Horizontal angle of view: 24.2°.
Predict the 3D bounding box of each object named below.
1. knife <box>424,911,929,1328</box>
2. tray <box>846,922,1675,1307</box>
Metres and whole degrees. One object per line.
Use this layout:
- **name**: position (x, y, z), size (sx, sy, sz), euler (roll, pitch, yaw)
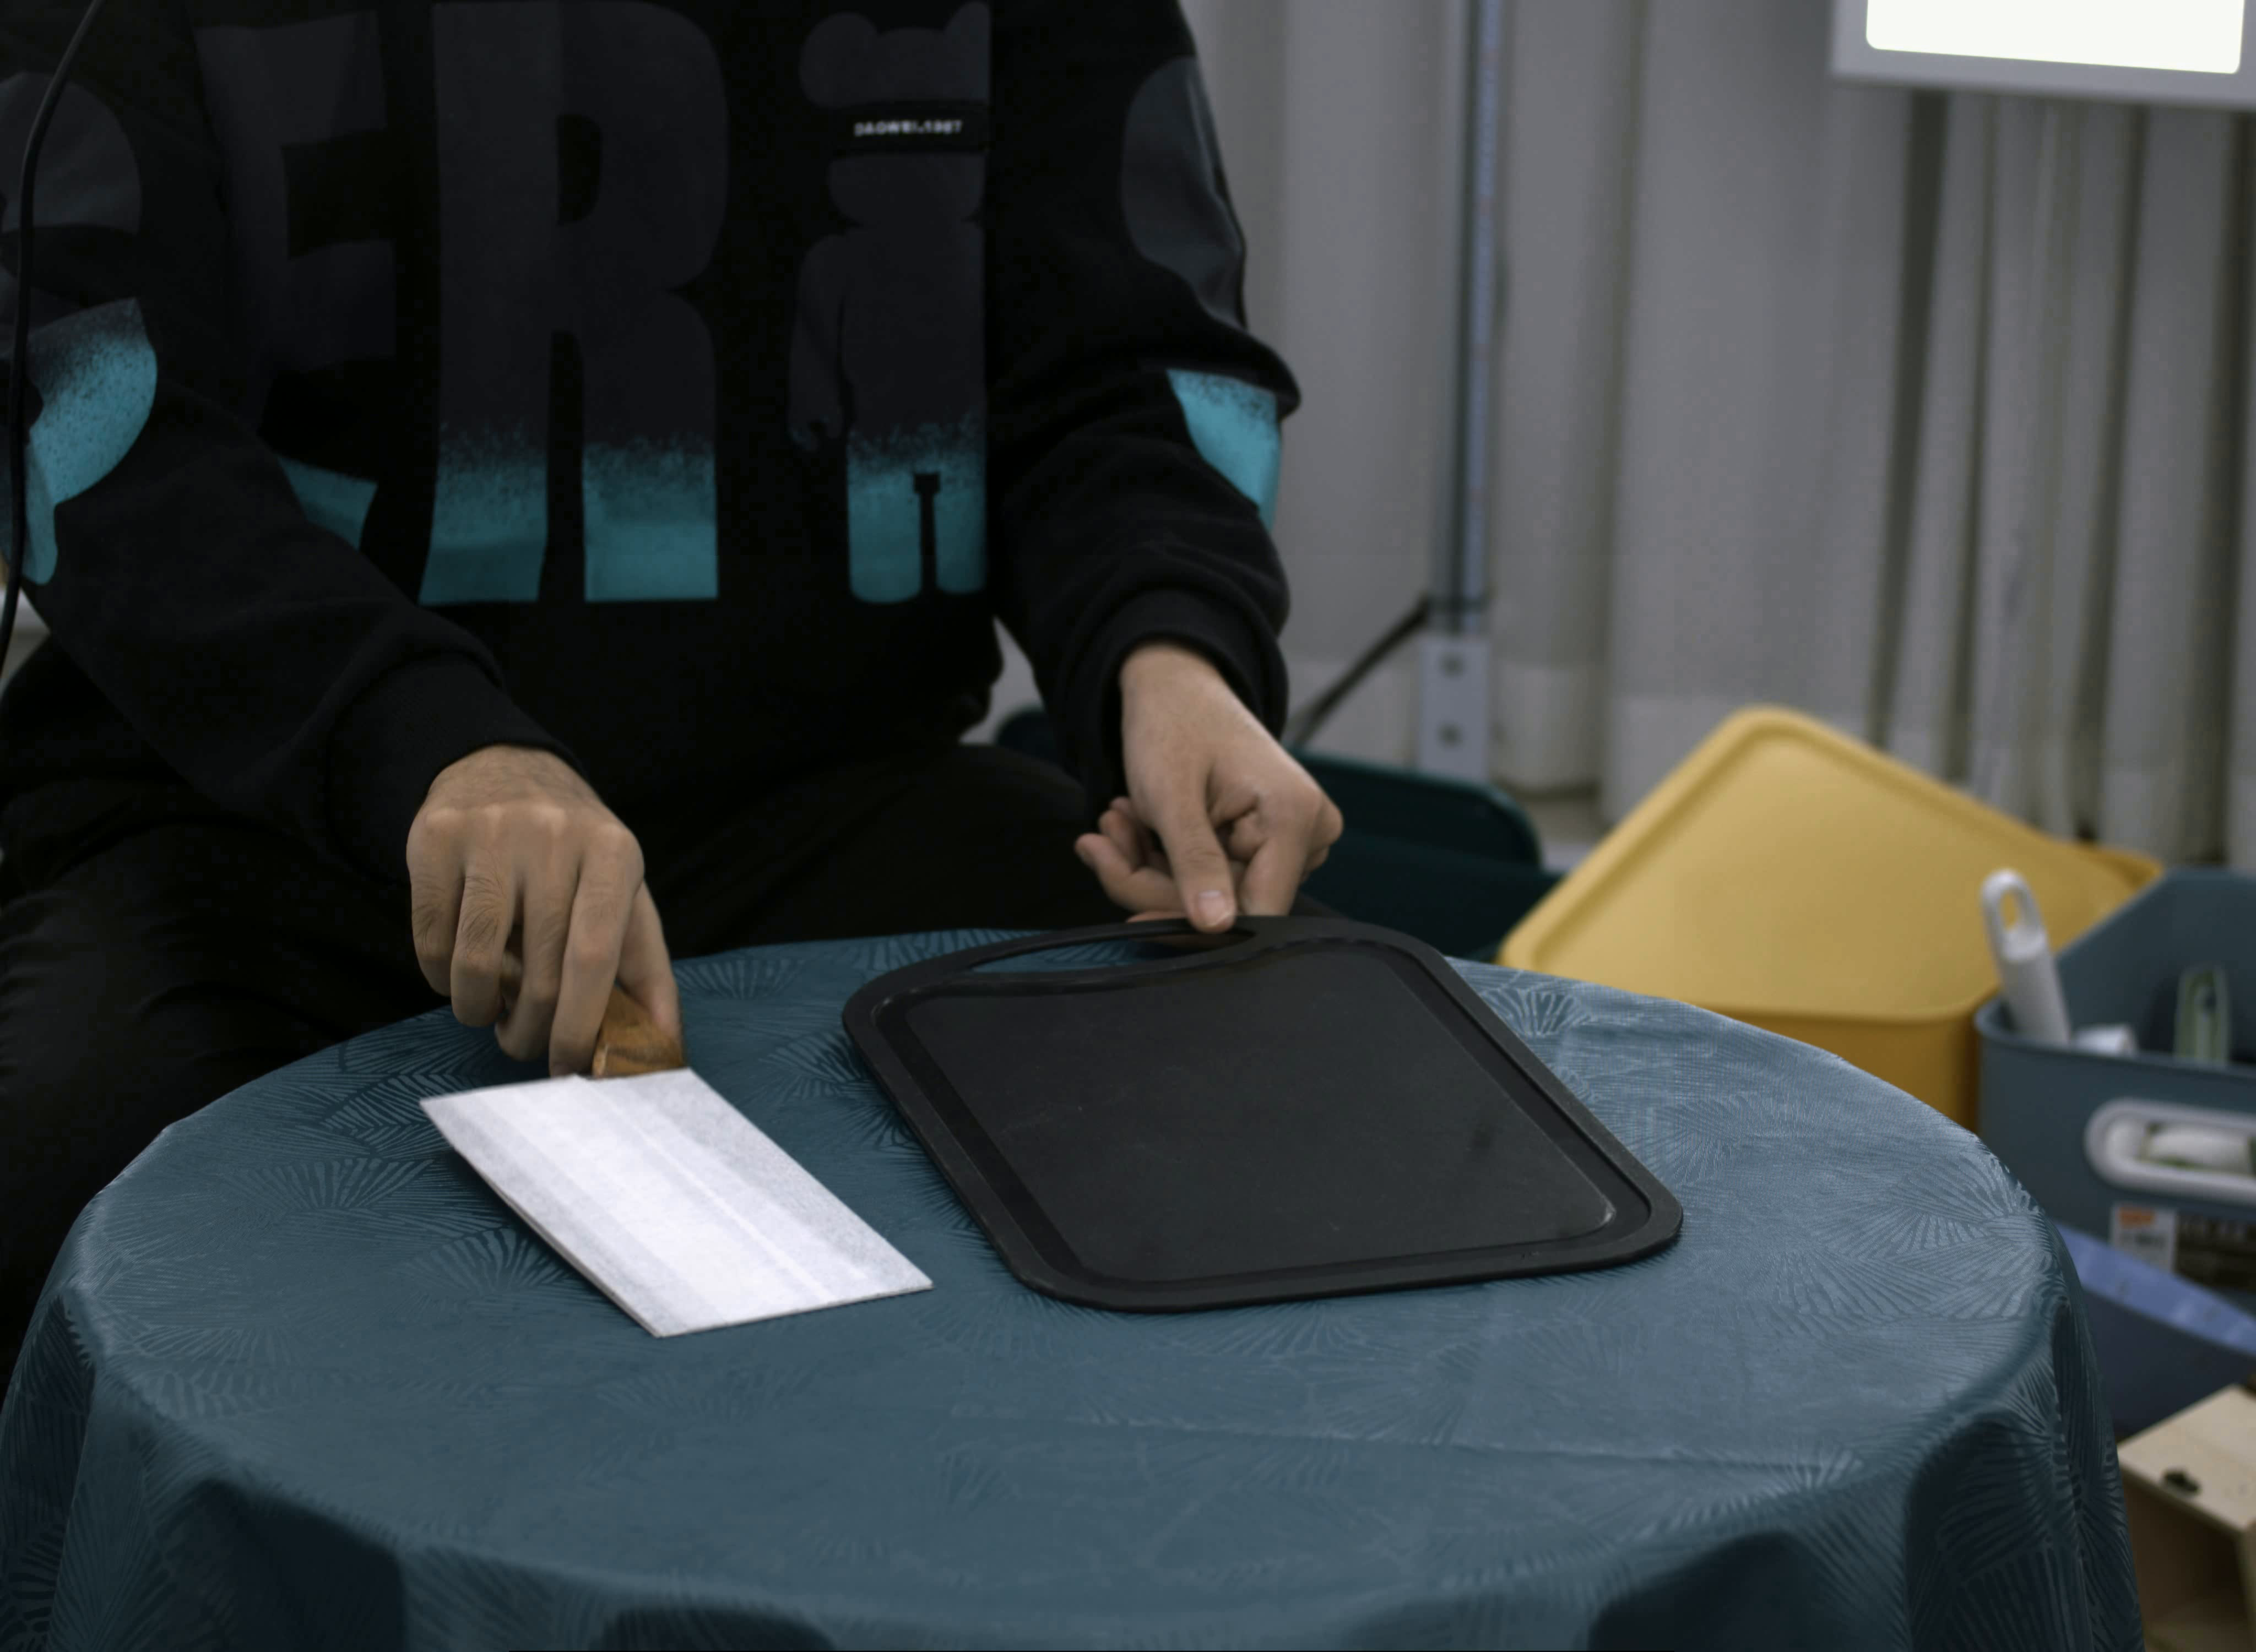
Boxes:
- **knife**: position (-0.164, 0.090, 1.641), size (0.093, 0.021, 0.301), euler (-9, 23, -27)
- **tray**: position (0.032, 0.084, 1.685), size (0.211, 0.010, 0.322), euler (-5, 19, -15)
